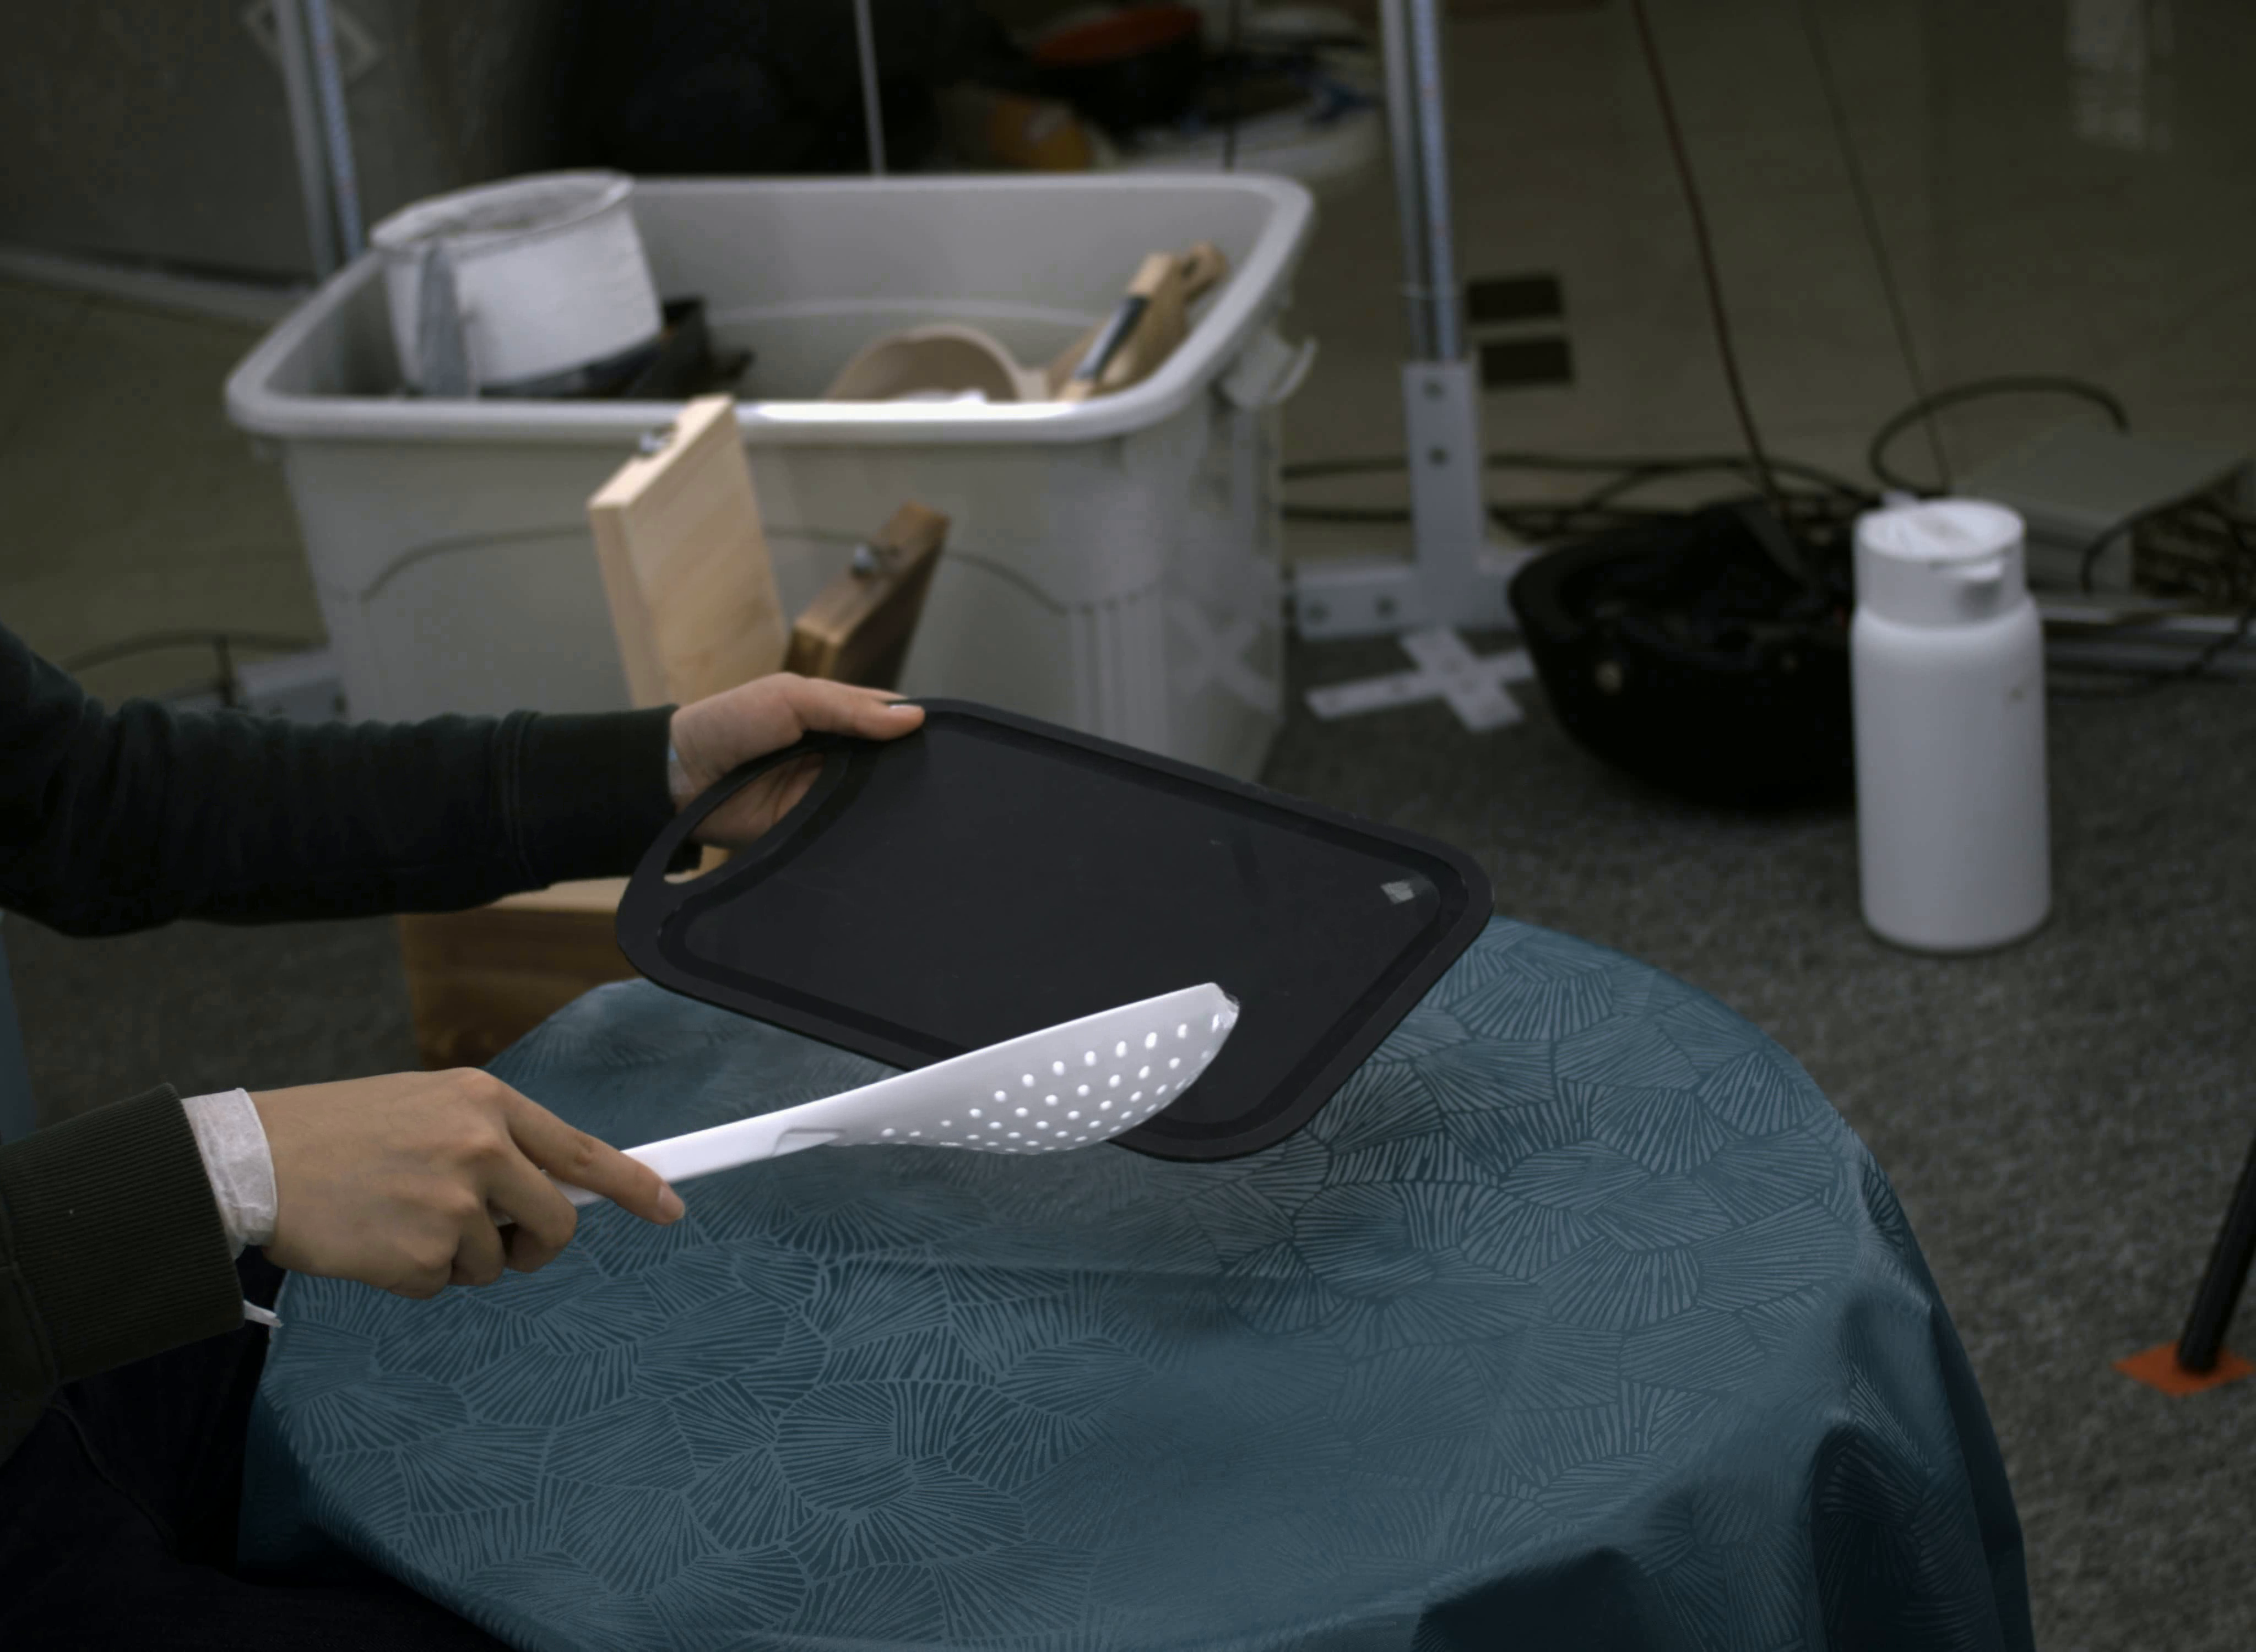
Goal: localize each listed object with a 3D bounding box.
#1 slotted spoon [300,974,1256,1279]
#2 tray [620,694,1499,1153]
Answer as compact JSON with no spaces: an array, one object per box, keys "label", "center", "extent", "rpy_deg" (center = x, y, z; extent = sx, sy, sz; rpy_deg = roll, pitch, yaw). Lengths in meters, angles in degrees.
[{"label":"slotted spoon","center":[-0.111,0.100,1.878],"extent":[0.348,0.045,0.137],"rpy_deg":[-8,-8,-29]},{"label":"tray","center":[-0.035,0.030,2.163],"extent":[0.323,0.010,0.208],"rpy_deg":[18,43,29]}]
